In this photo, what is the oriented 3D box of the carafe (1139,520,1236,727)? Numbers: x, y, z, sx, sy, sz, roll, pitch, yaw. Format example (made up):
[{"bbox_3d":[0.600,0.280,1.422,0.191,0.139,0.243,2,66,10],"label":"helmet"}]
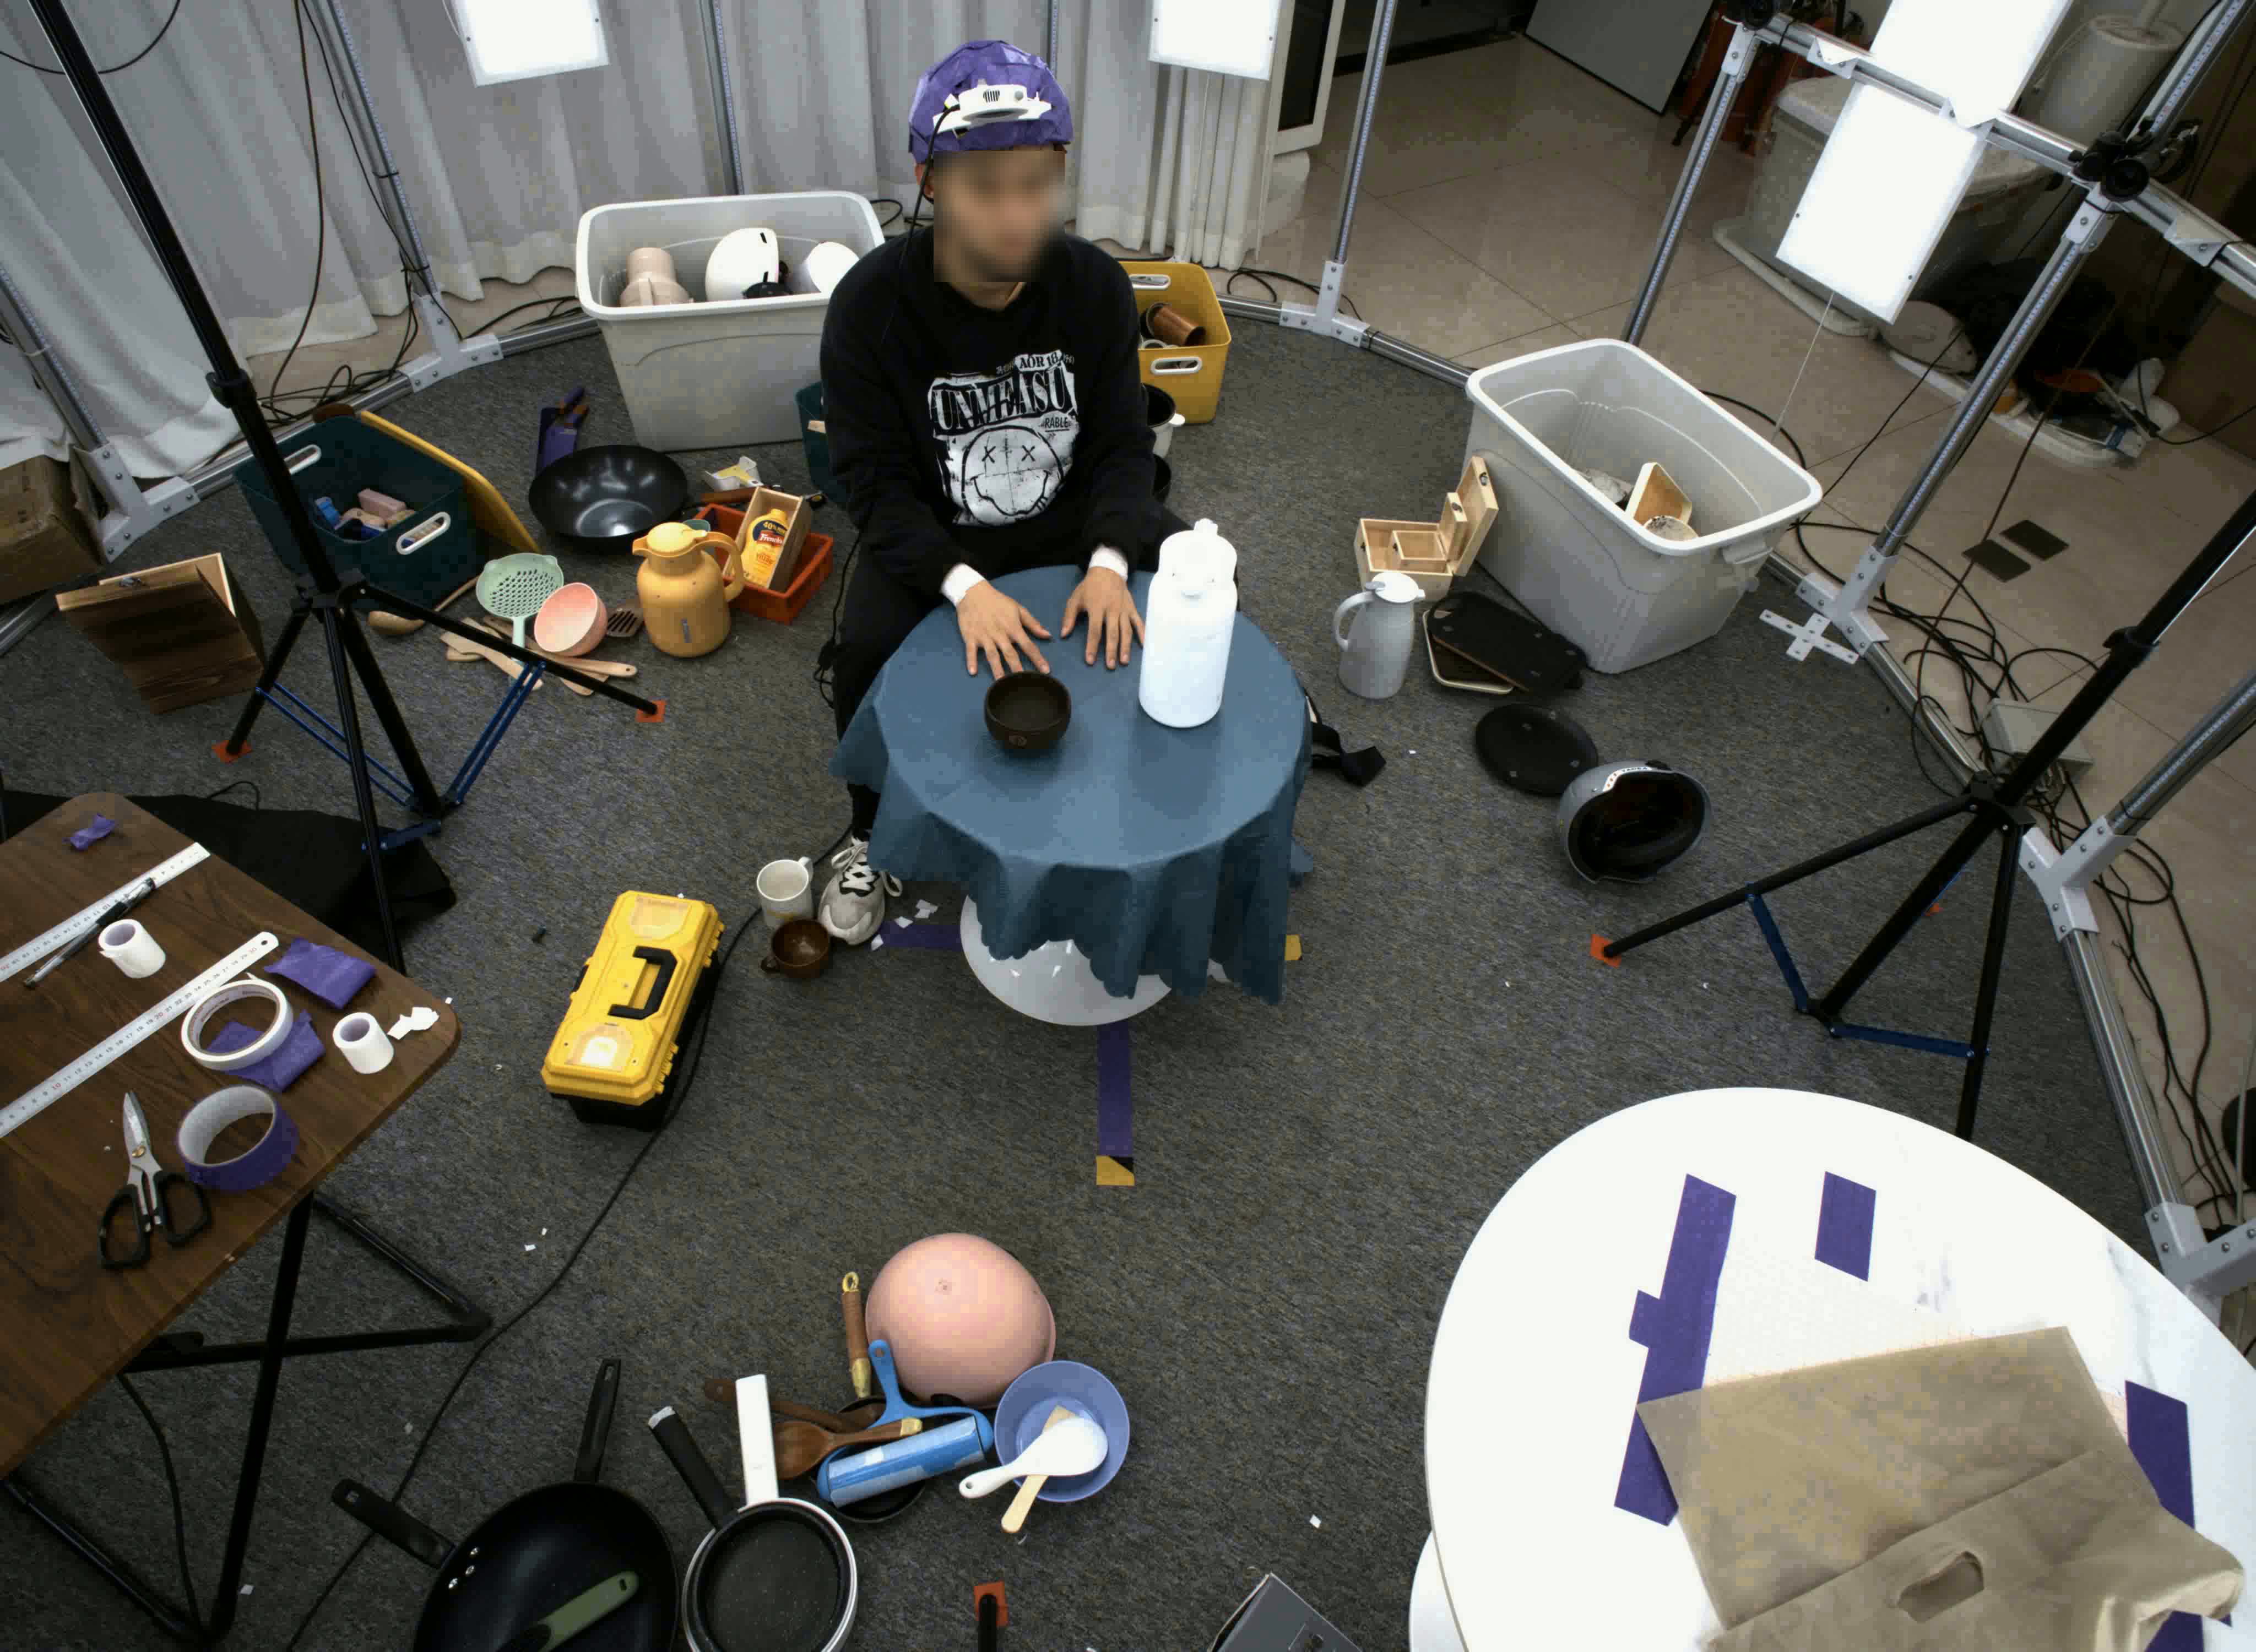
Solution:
[{"bbox_3d":[0.082,-0.276,1.742,0.124,0.262,0.177,8,49,5],"label":"carafe"}]

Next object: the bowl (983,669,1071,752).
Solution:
[{"bbox_3d":[-0.136,-0.149,1.742,0.118,0.068,0.121,2,51,-3],"label":"bowl"}]
